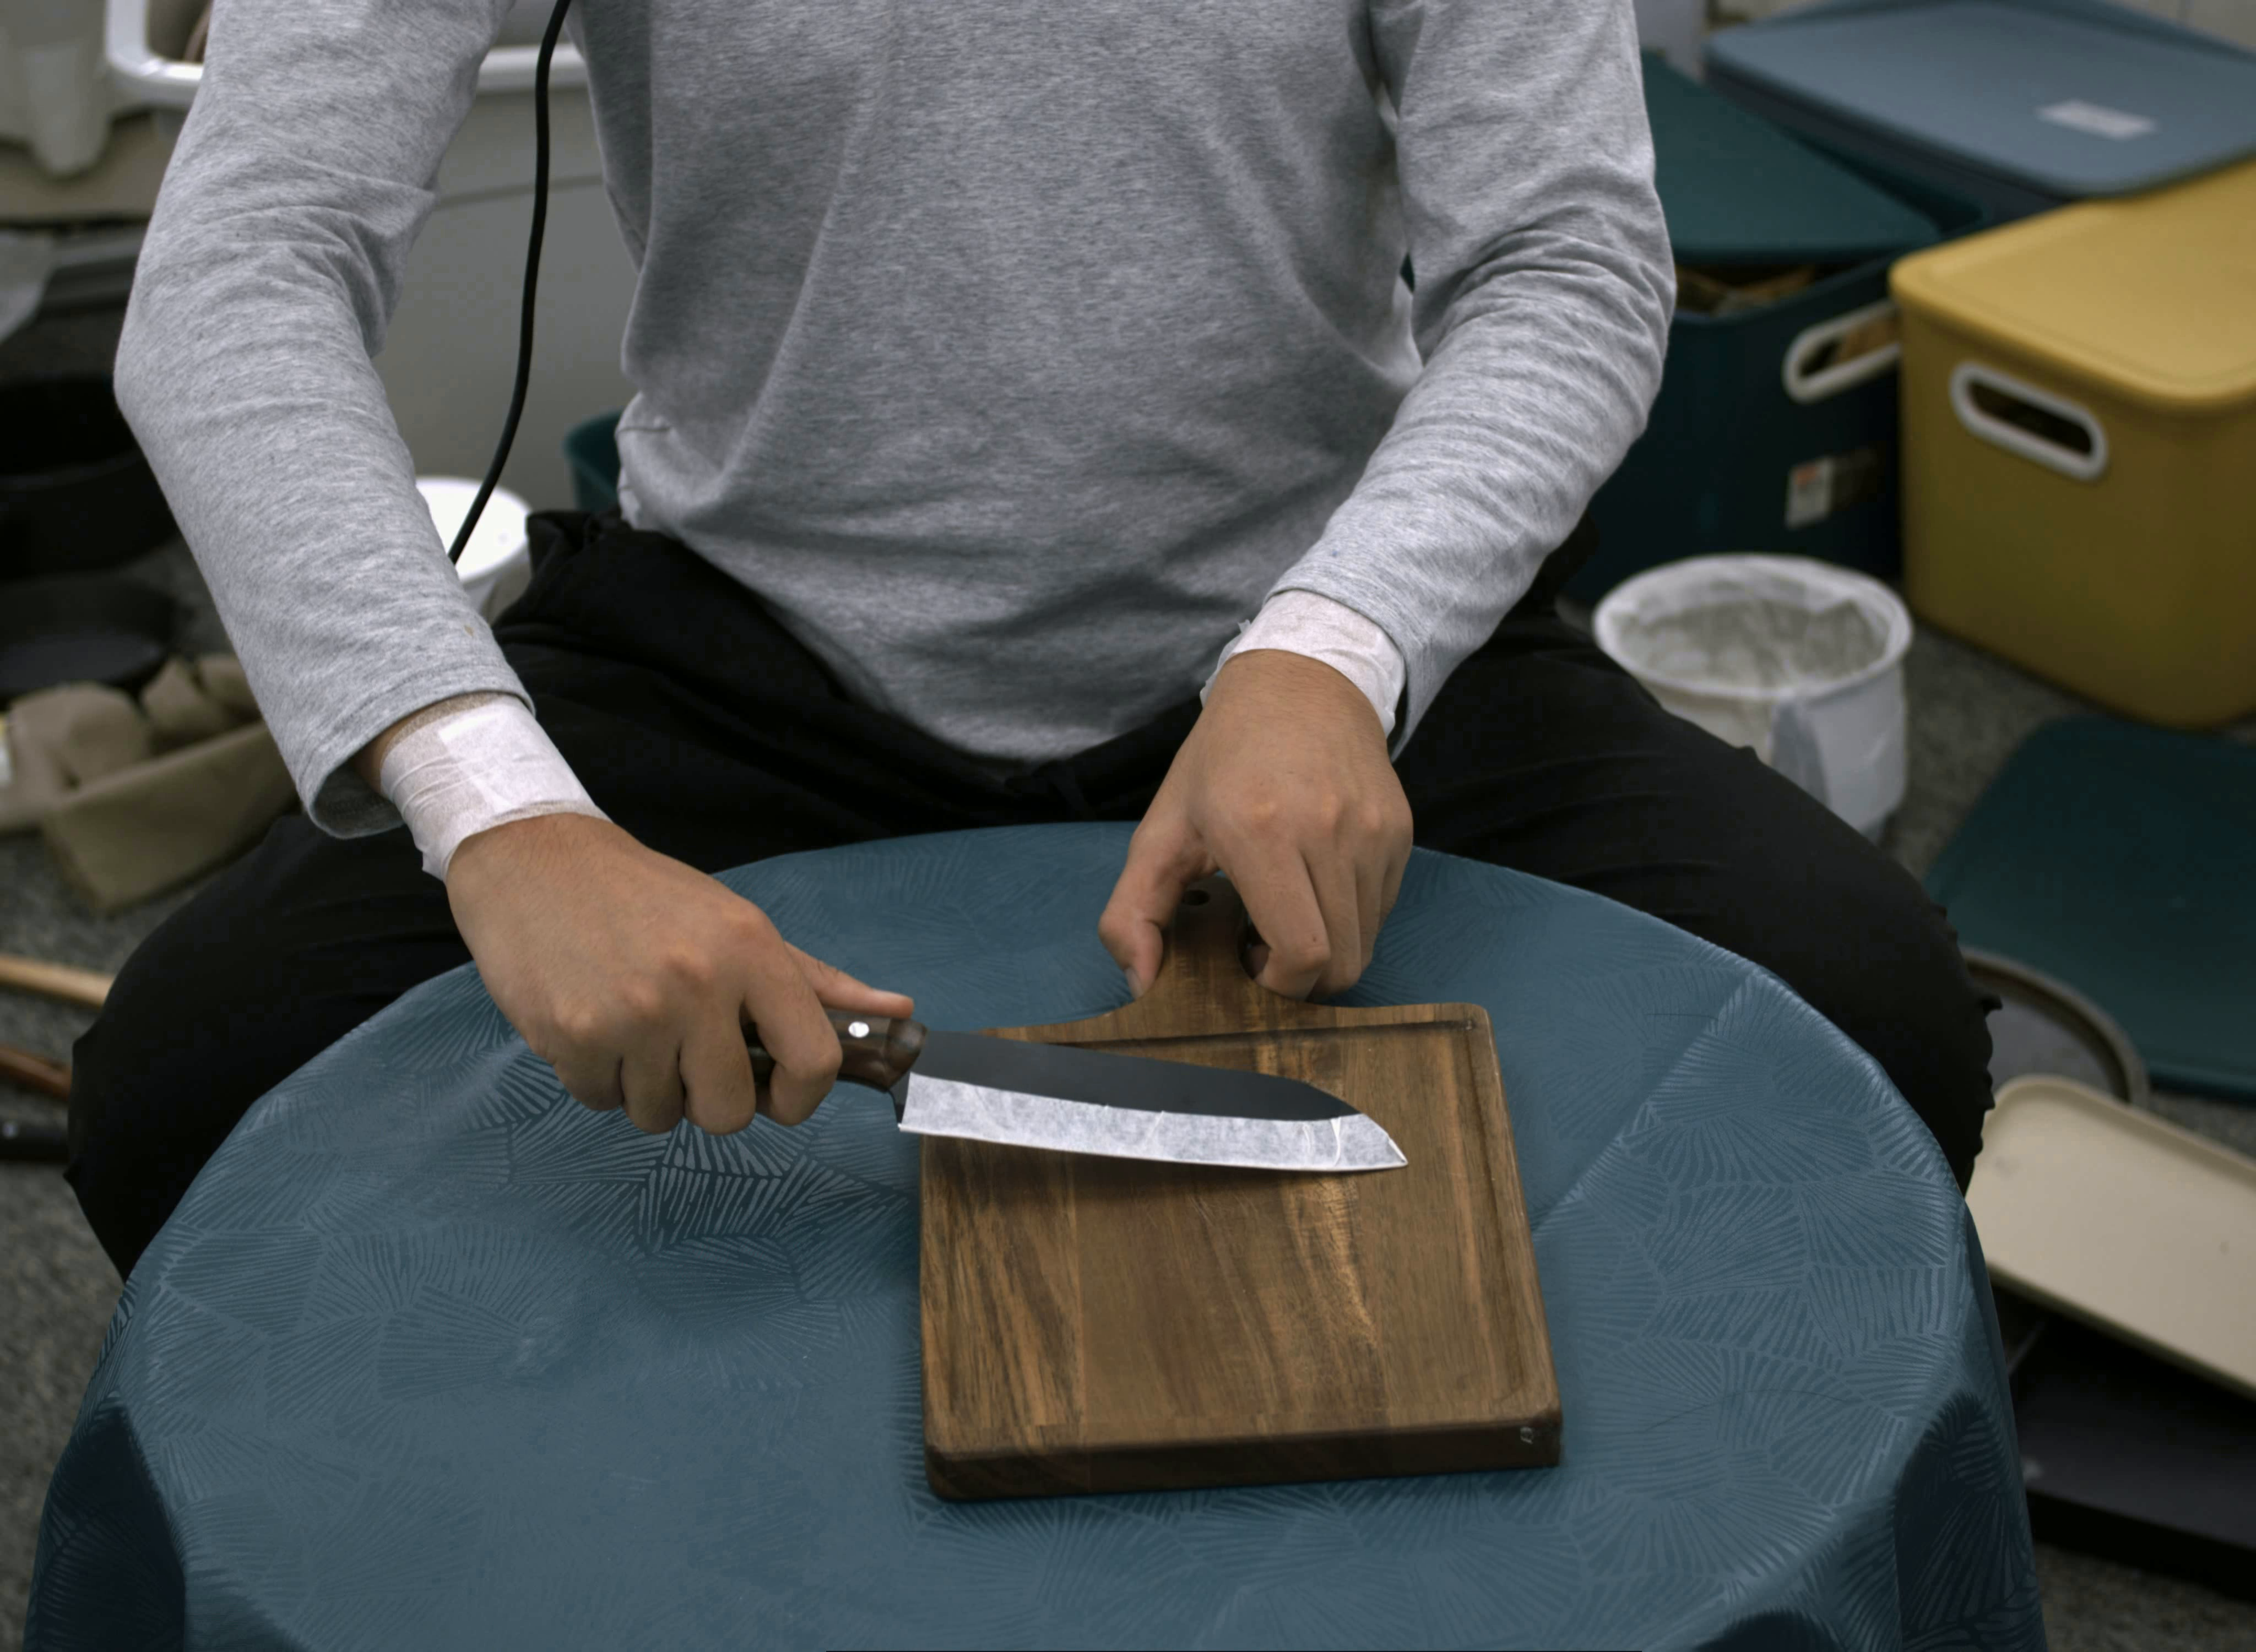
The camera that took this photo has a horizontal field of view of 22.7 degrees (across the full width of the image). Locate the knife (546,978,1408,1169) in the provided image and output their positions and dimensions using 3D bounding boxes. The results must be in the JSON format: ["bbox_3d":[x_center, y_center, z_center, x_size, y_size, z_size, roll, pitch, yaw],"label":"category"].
[{"bbox_3d":[-0.050,0.083,1.840,0.288,0.019,0.051,9,49,0],"label":"knife"}]

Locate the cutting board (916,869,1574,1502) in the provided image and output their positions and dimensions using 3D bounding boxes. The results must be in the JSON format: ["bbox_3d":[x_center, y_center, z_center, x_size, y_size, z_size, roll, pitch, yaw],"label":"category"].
[{"bbox_3d":[0.030,0.109,1.855,0.200,0.023,0.357,-3,28,-1],"label":"cutting board"}]
